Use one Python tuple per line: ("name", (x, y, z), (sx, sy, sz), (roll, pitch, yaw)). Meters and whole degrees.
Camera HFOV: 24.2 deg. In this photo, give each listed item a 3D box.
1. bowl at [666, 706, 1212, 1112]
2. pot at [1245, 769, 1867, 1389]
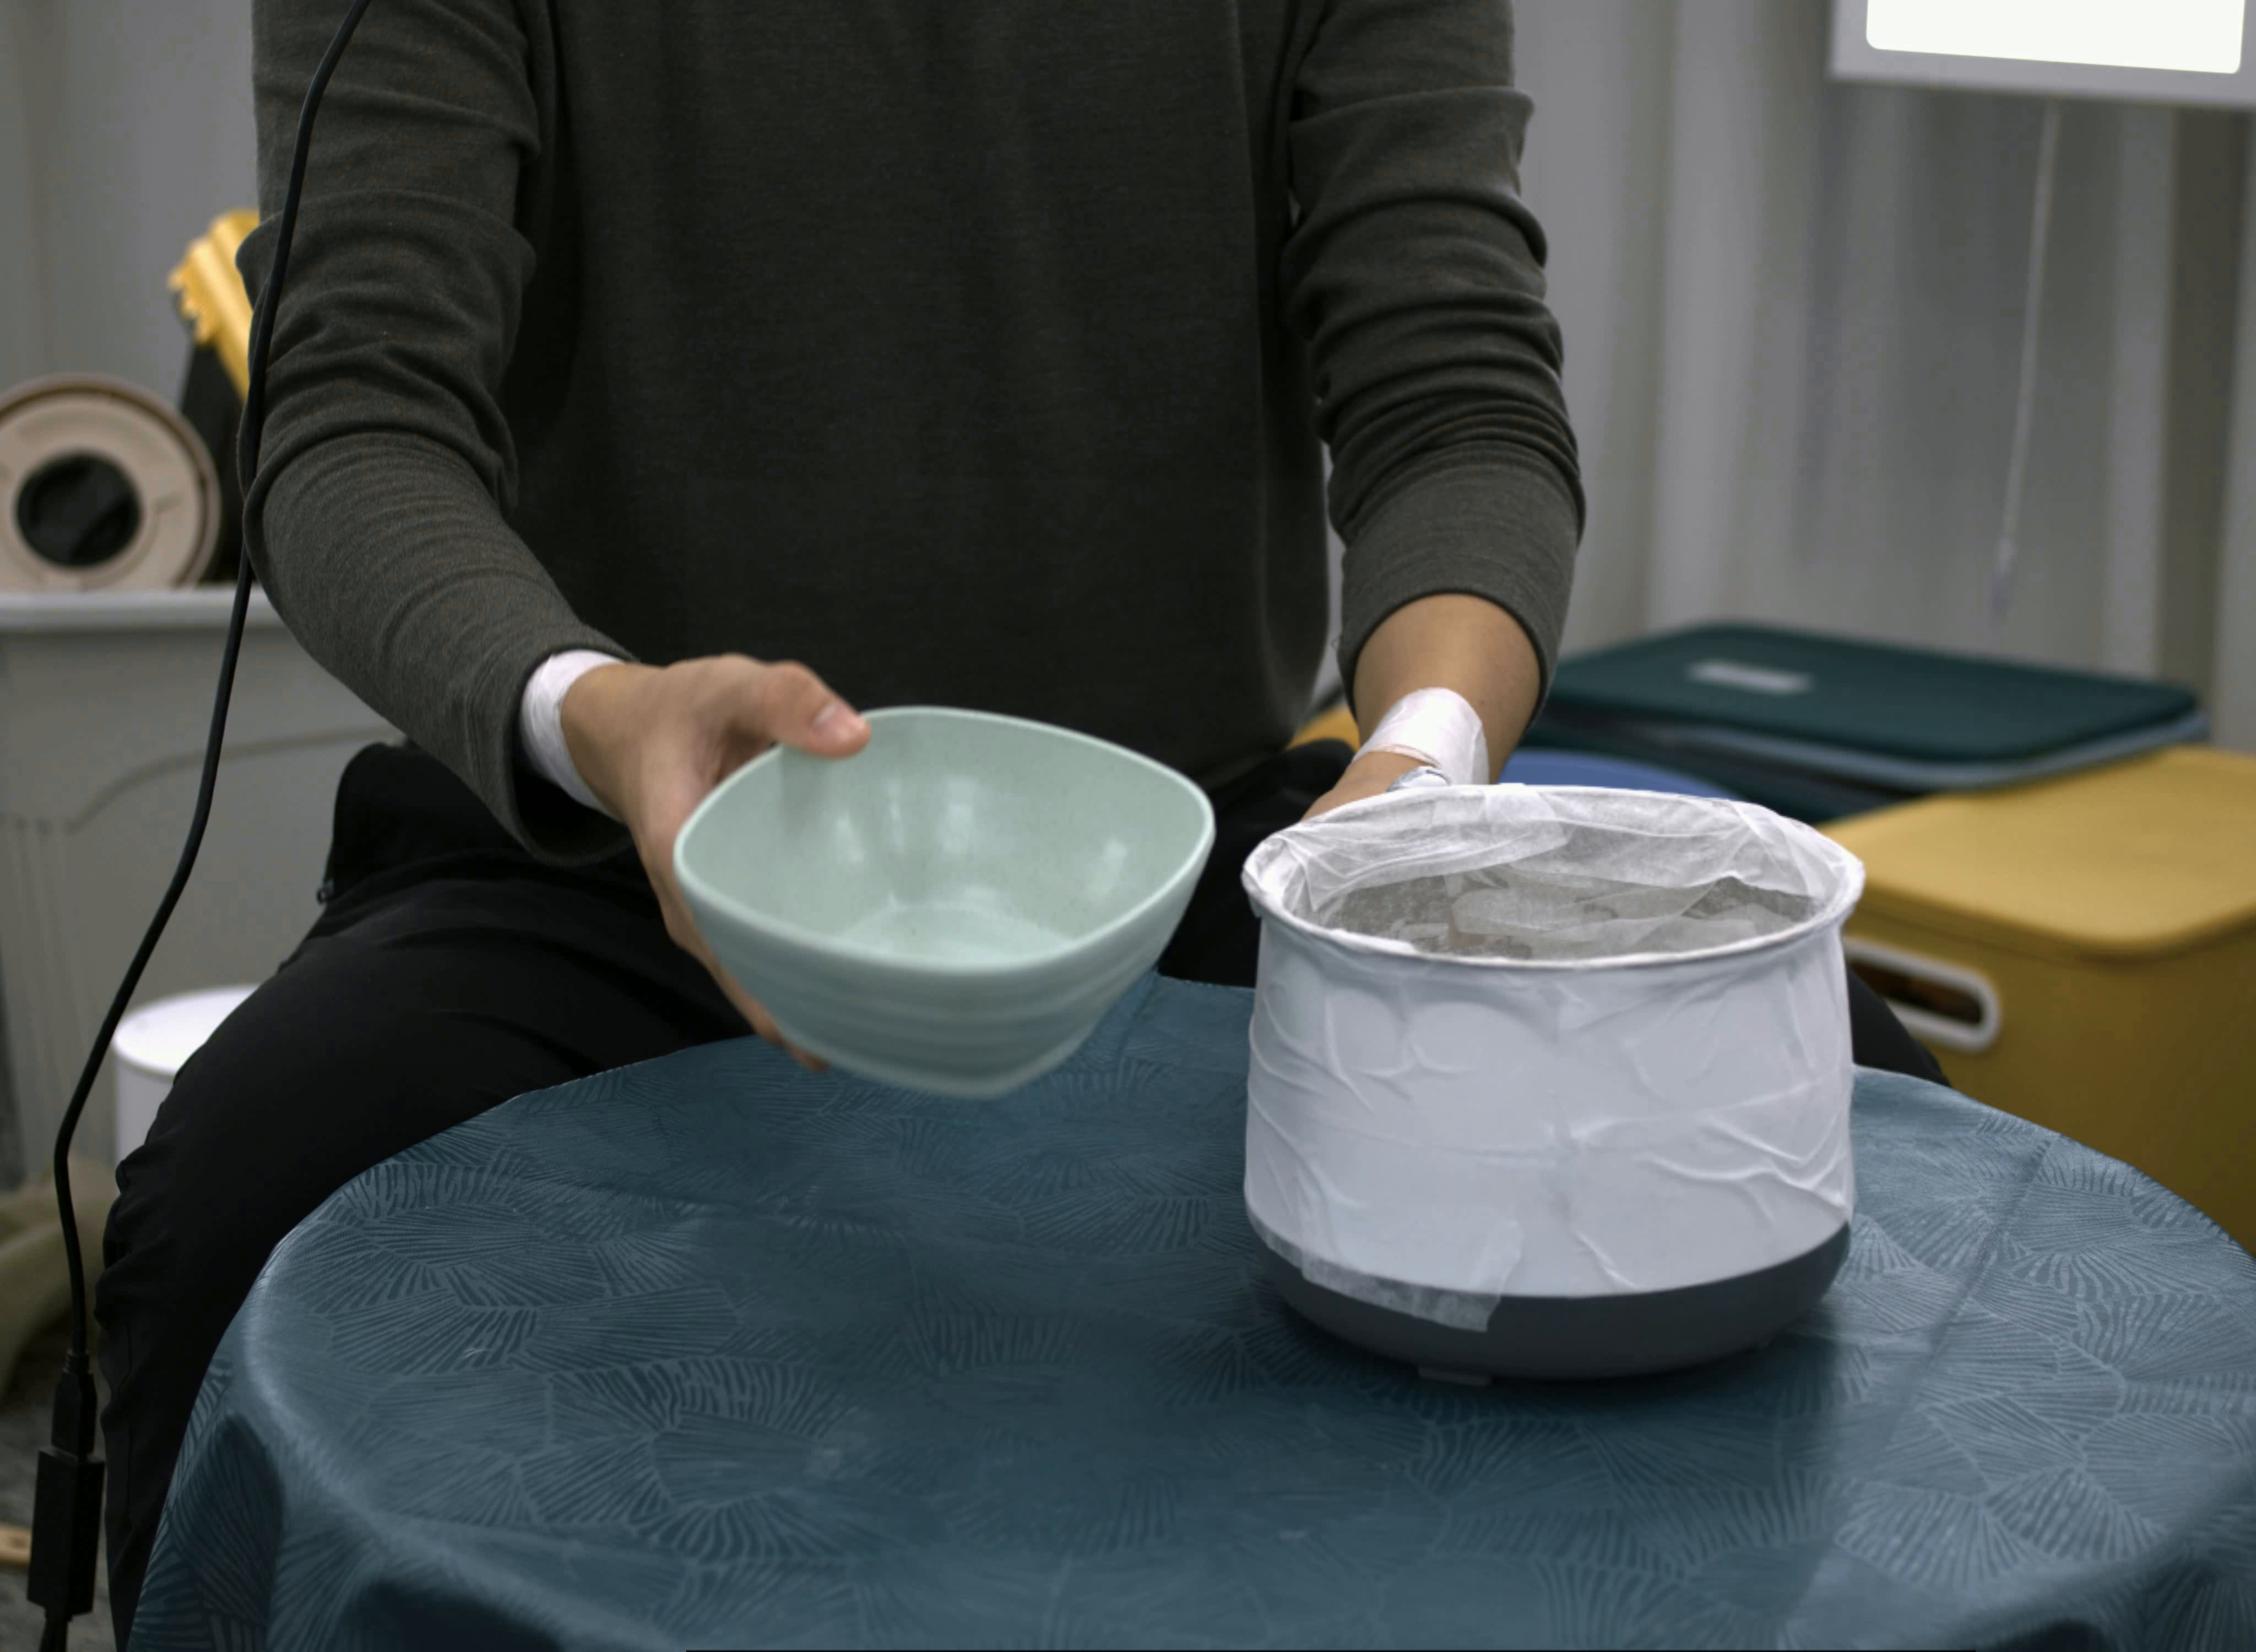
("bowl", (-0.052, 0.029, 1.454), (0.151, 0.059, 0.150), (1, 31, 0))
("pot", (0.113, 0.067, 1.536), (0.179, 0.138, 0.231), (-6, 17, -19))
